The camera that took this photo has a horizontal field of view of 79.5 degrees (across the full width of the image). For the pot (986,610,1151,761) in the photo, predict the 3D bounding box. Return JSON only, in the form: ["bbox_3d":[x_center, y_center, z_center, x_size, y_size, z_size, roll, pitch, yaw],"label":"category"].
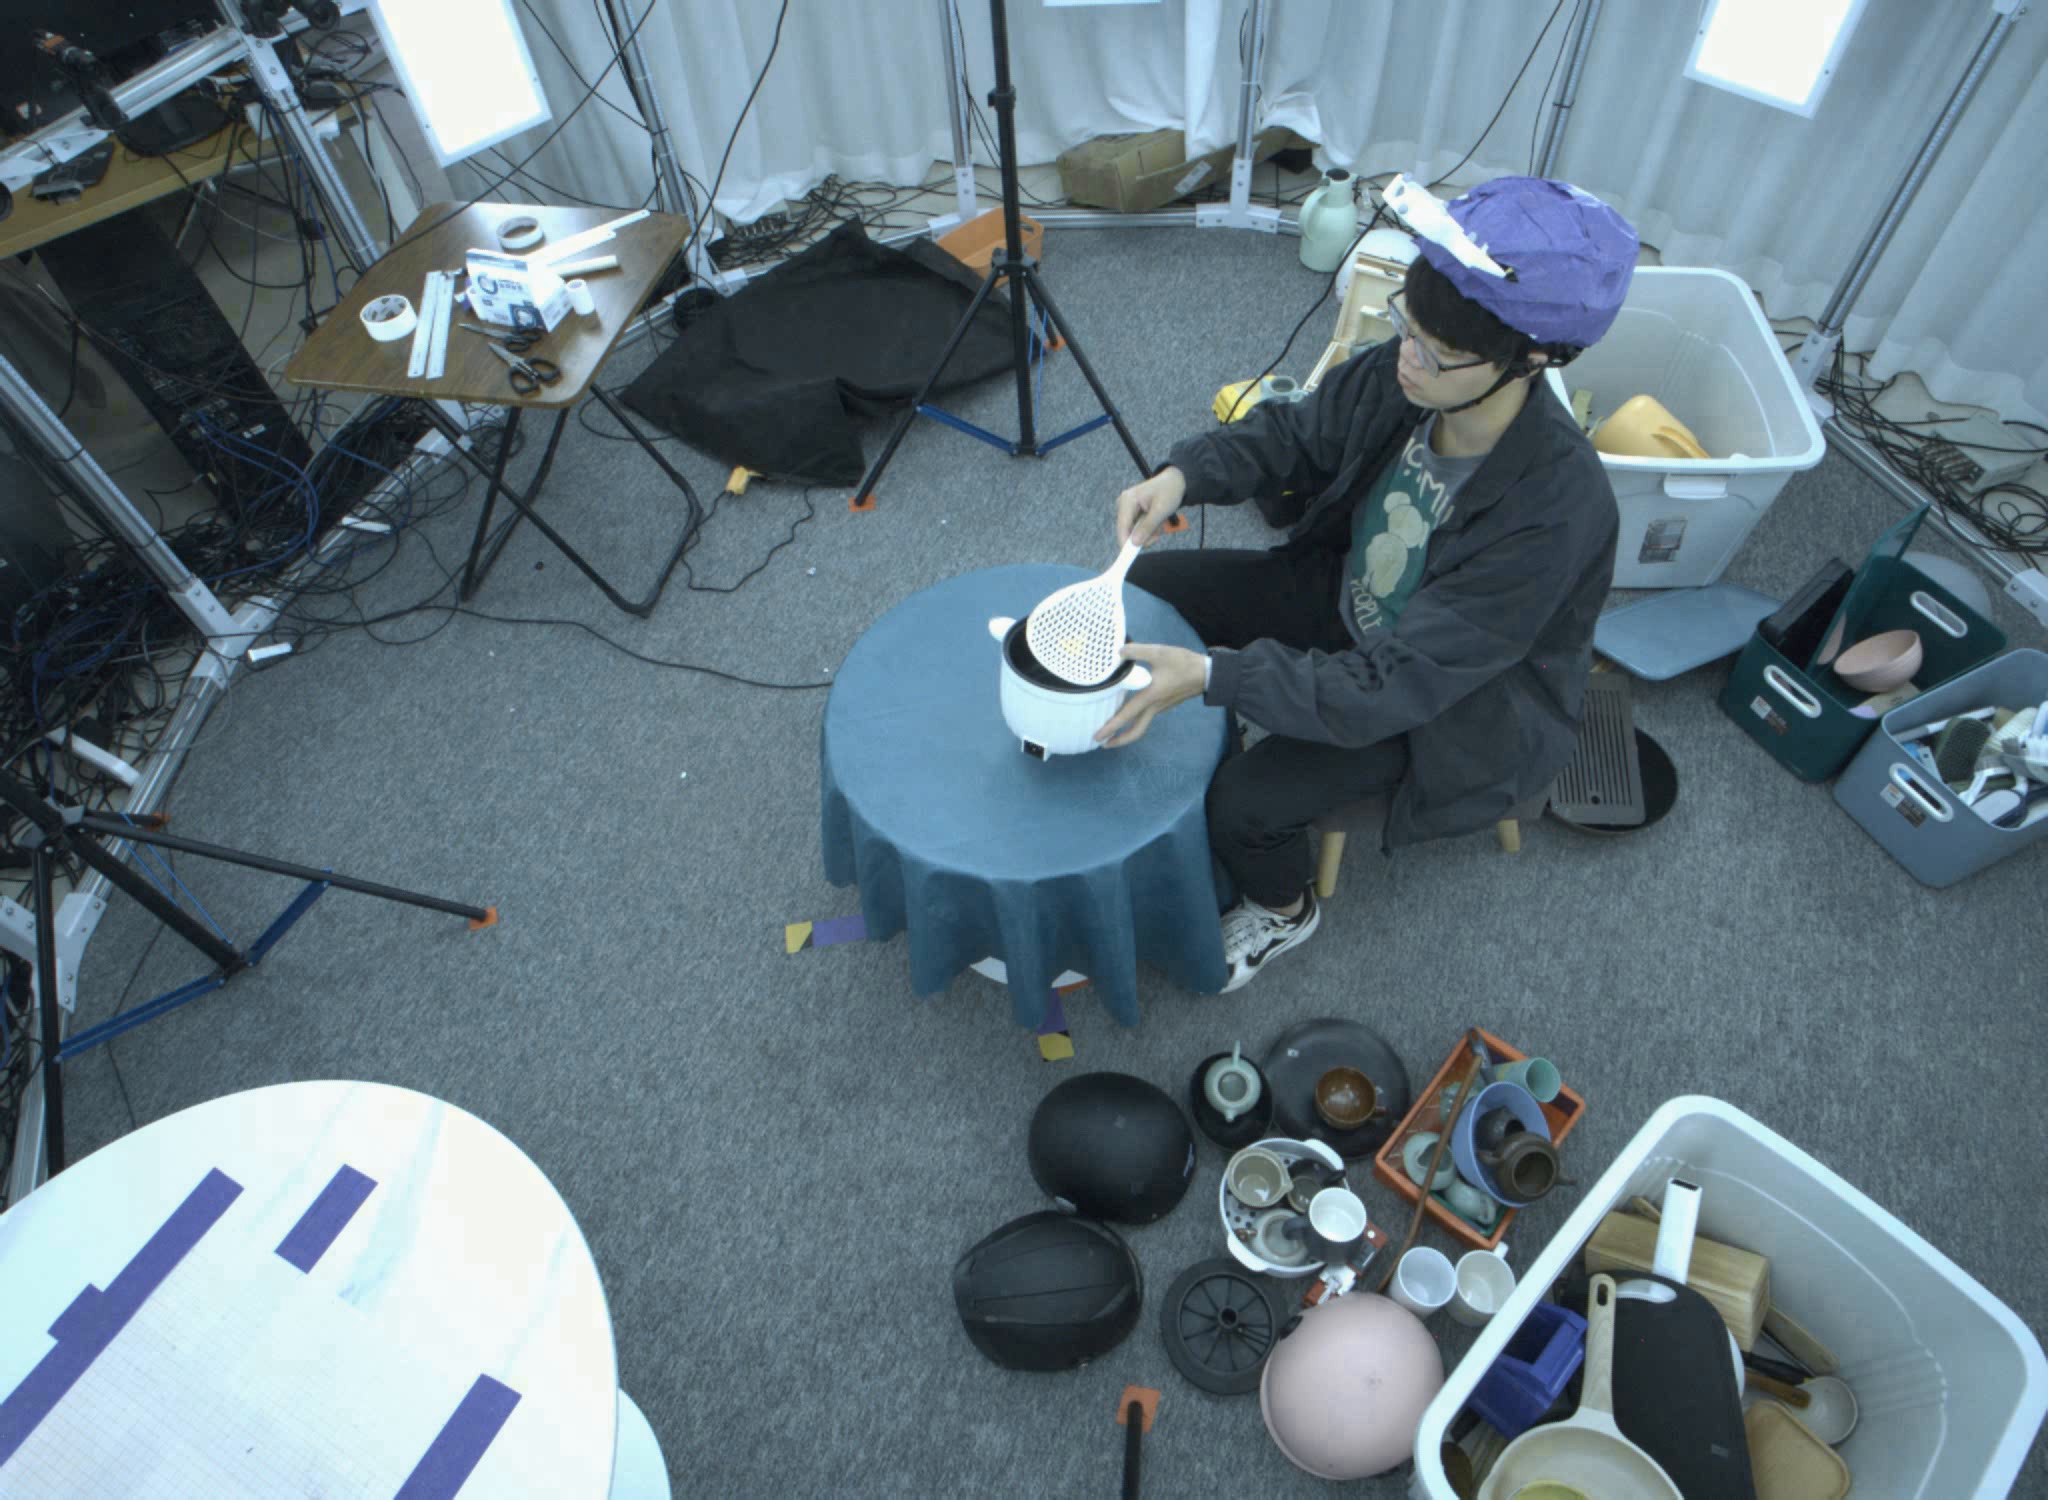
[{"bbox_3d":[0.056,-0.092,1.693,0.237,0.144,0.191,23,49,15],"label":"pot"}]

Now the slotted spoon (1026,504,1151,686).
[{"bbox_3d":[0.115,-0.227,1.704,0.137,0.050,0.348,31,64,-3],"label":"slotted spoon"}]
